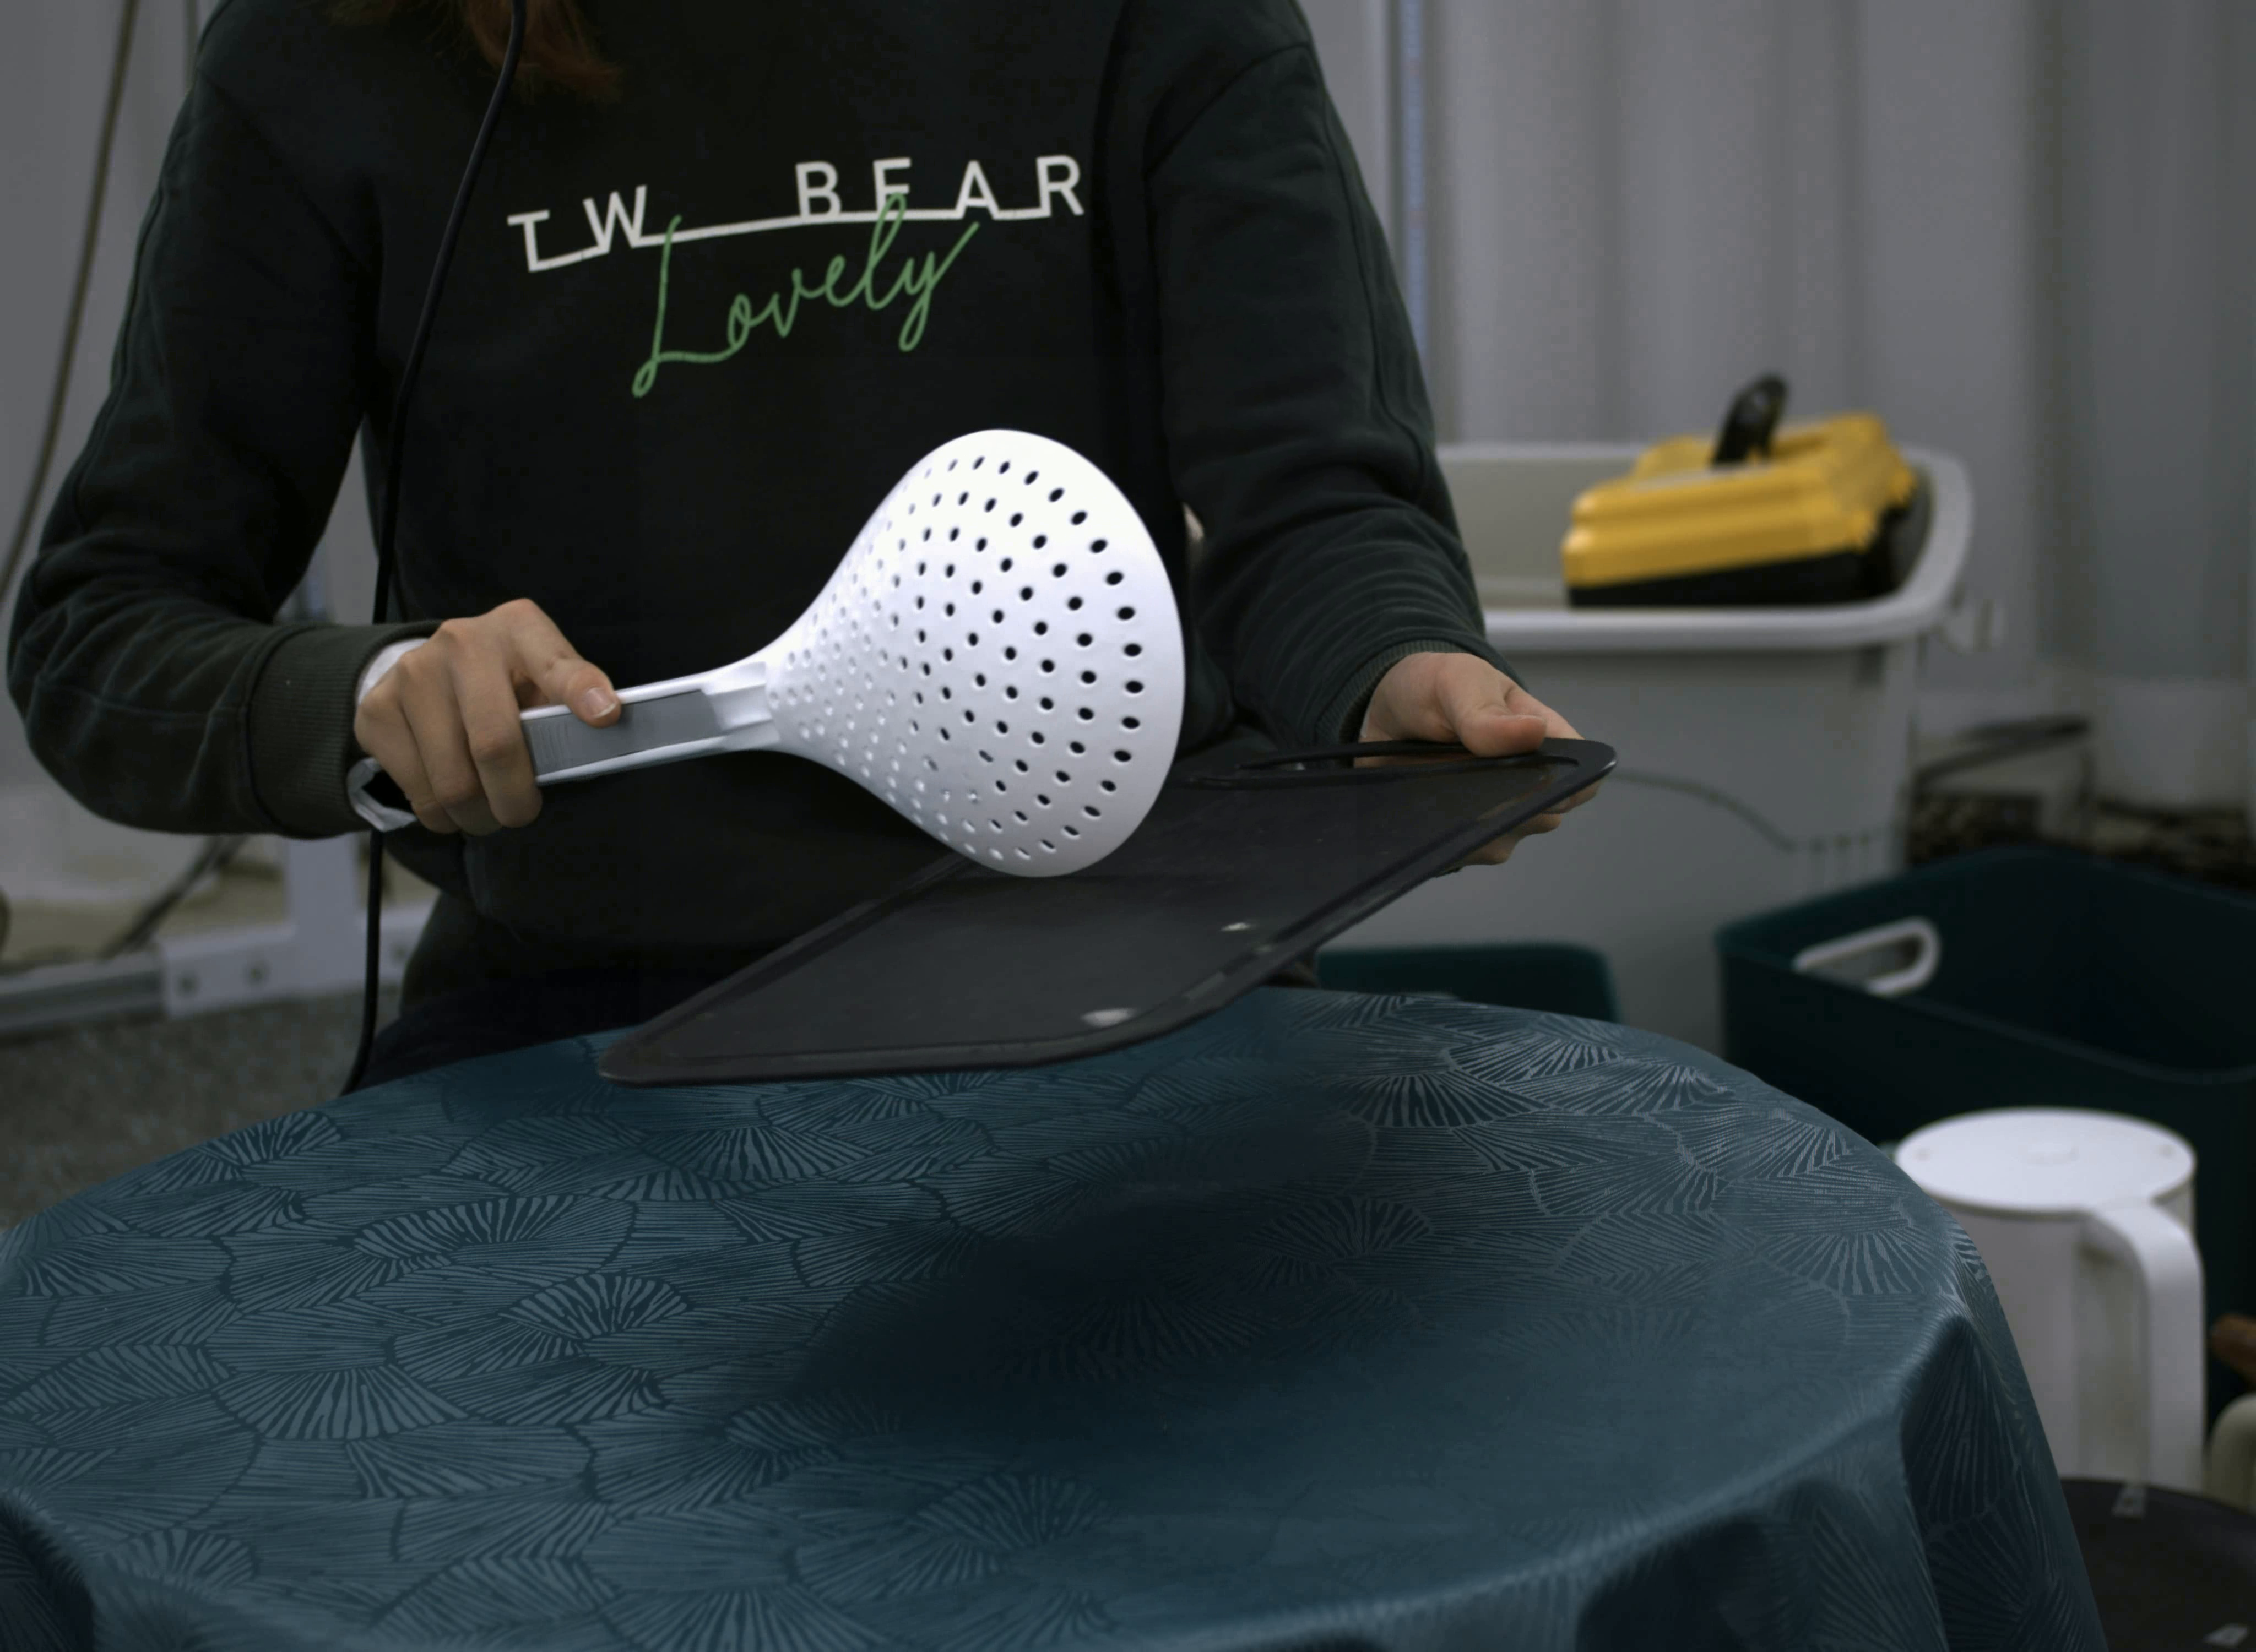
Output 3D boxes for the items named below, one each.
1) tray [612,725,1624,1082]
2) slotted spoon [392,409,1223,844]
[{"bbox_3d":[0.005,0.018,1.614,0.211,0.010,0.326,-5,15,35],"label":"tray"},{"bbox_3d":[-0.111,-0.039,1.723,0.349,0.136,0.046,-13,6,45],"label":"slotted spoon"}]
